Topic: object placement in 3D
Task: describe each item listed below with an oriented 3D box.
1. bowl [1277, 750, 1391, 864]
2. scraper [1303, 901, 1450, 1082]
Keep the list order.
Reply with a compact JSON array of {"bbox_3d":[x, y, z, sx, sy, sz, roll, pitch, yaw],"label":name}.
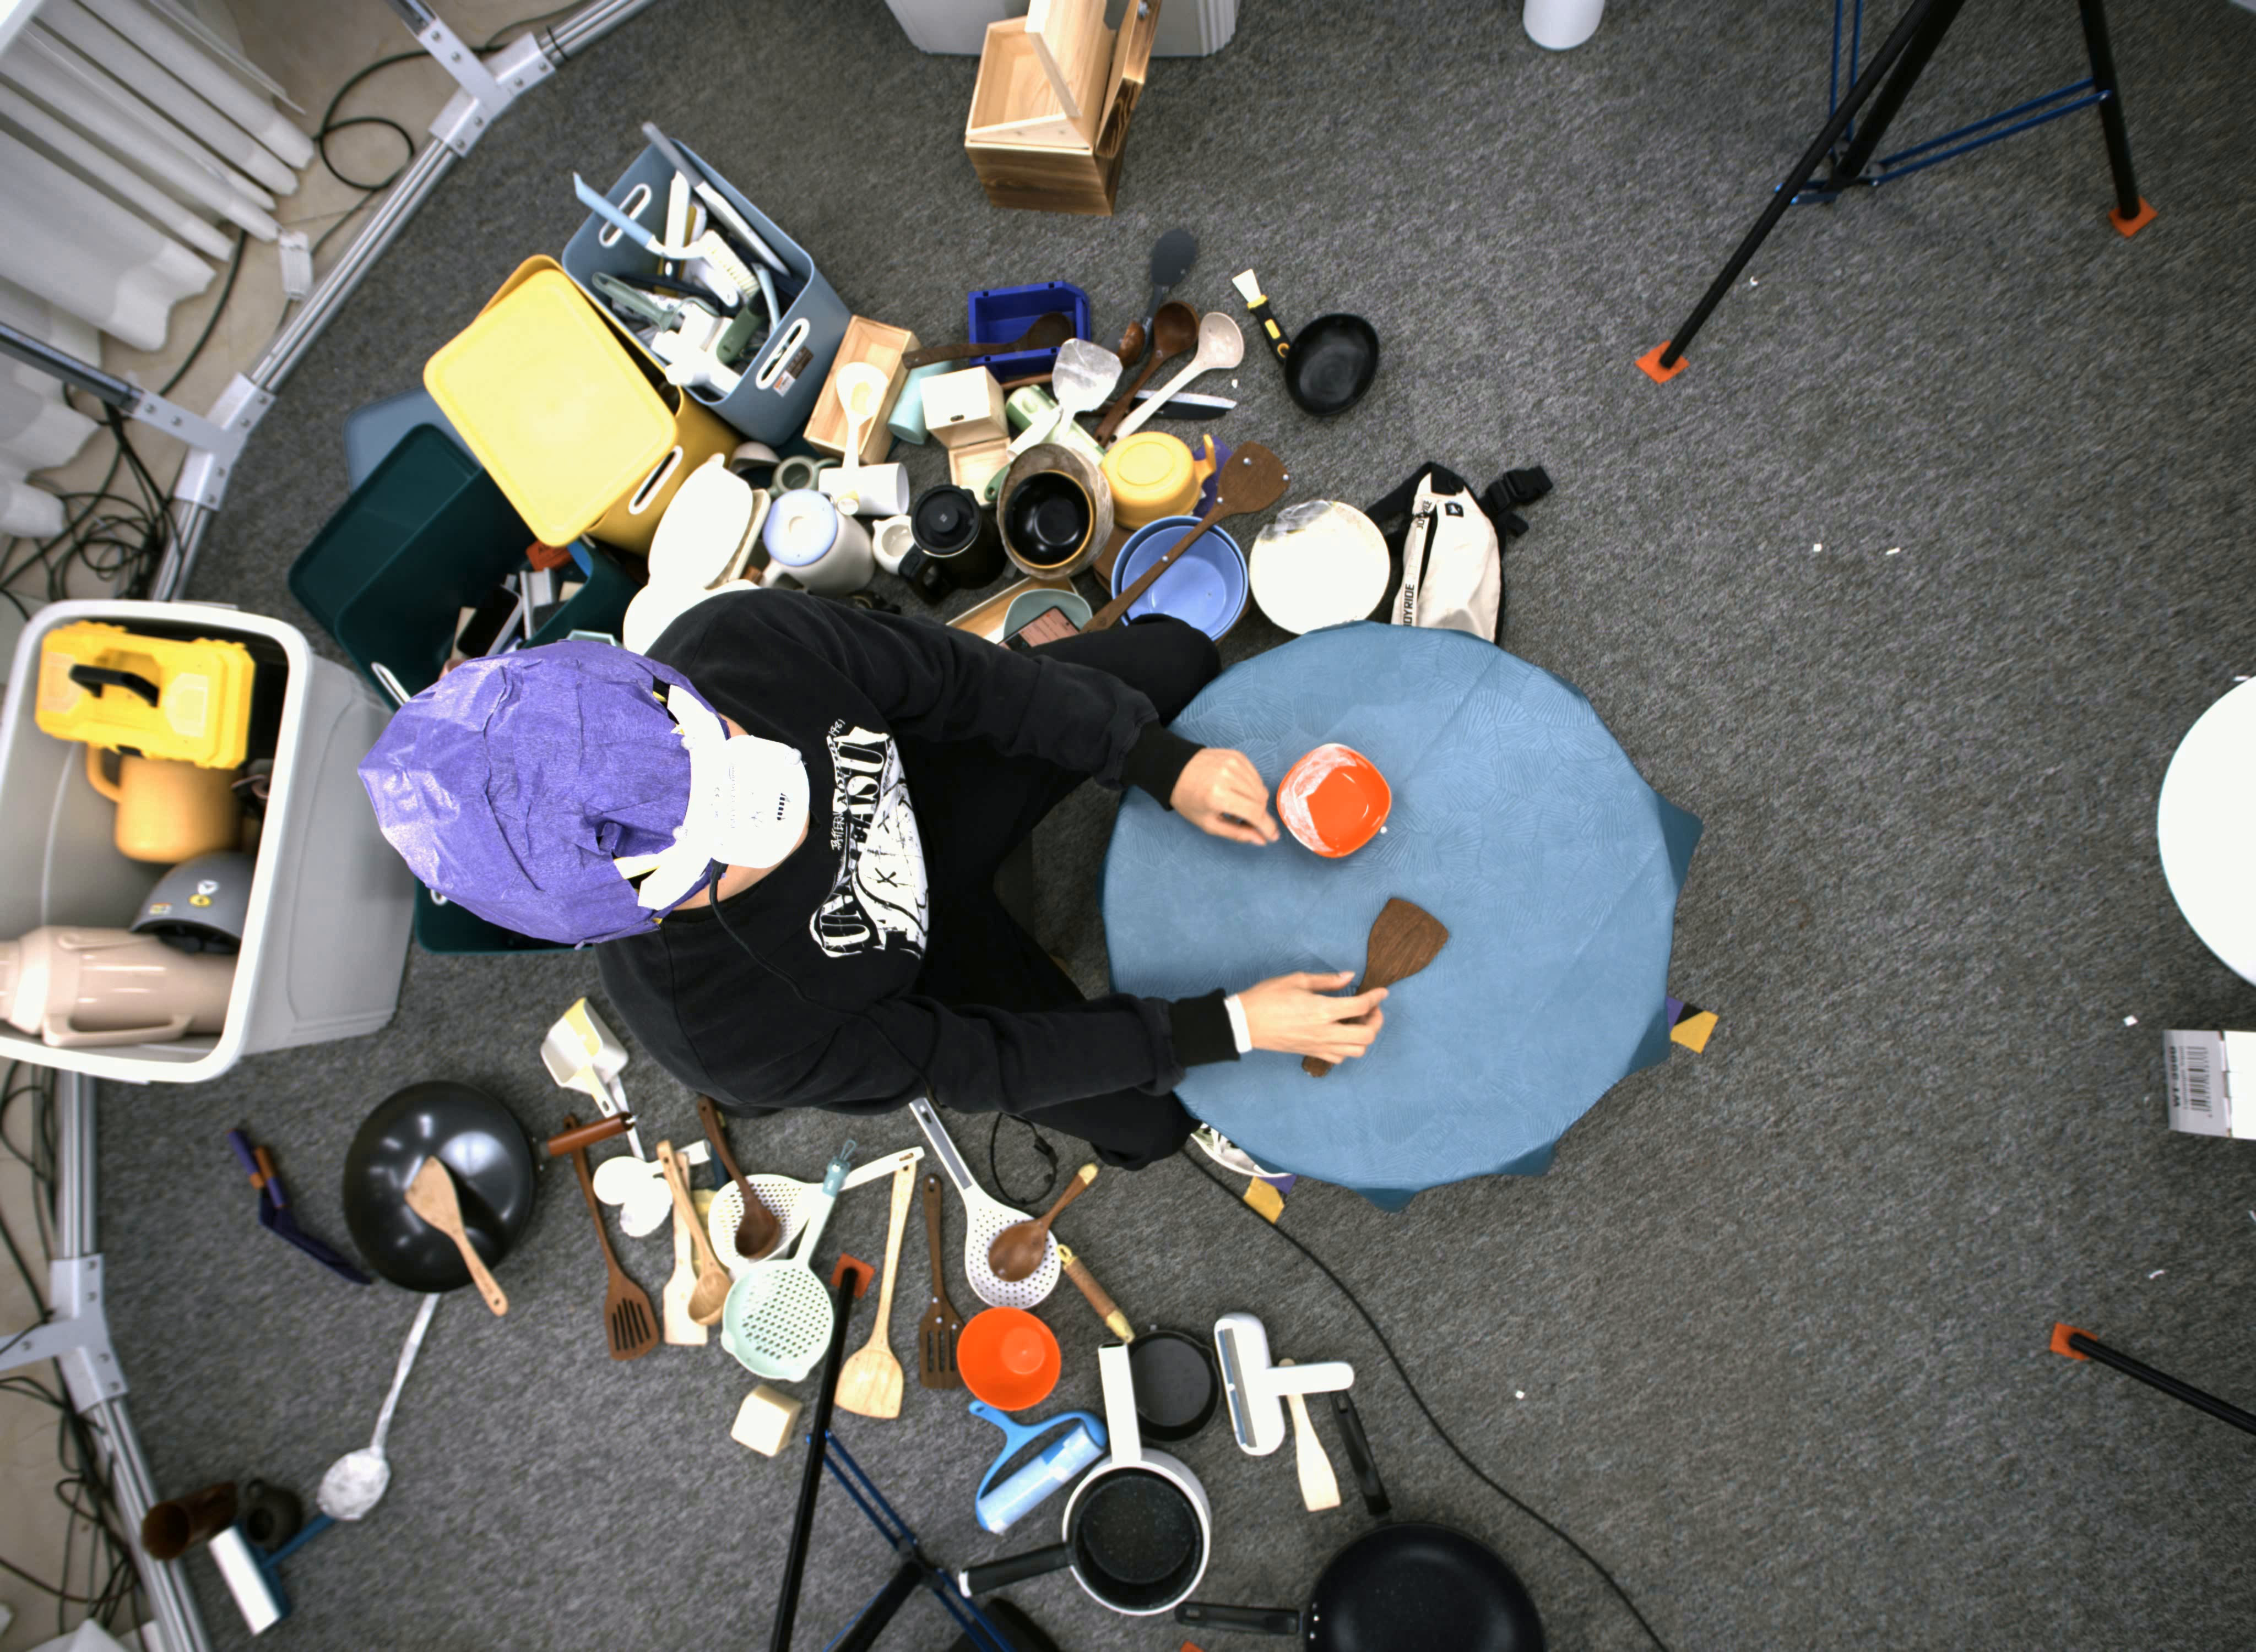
[{"bbox_3d":[0.216,-0.019,1.459,0.119,0.051,0.118,0,88,6],"label":"bowl"},{"bbox_3d":[0.253,0.178,1.457,0.075,0.011,0.212,35,93,12],"label":"scraper"}]
